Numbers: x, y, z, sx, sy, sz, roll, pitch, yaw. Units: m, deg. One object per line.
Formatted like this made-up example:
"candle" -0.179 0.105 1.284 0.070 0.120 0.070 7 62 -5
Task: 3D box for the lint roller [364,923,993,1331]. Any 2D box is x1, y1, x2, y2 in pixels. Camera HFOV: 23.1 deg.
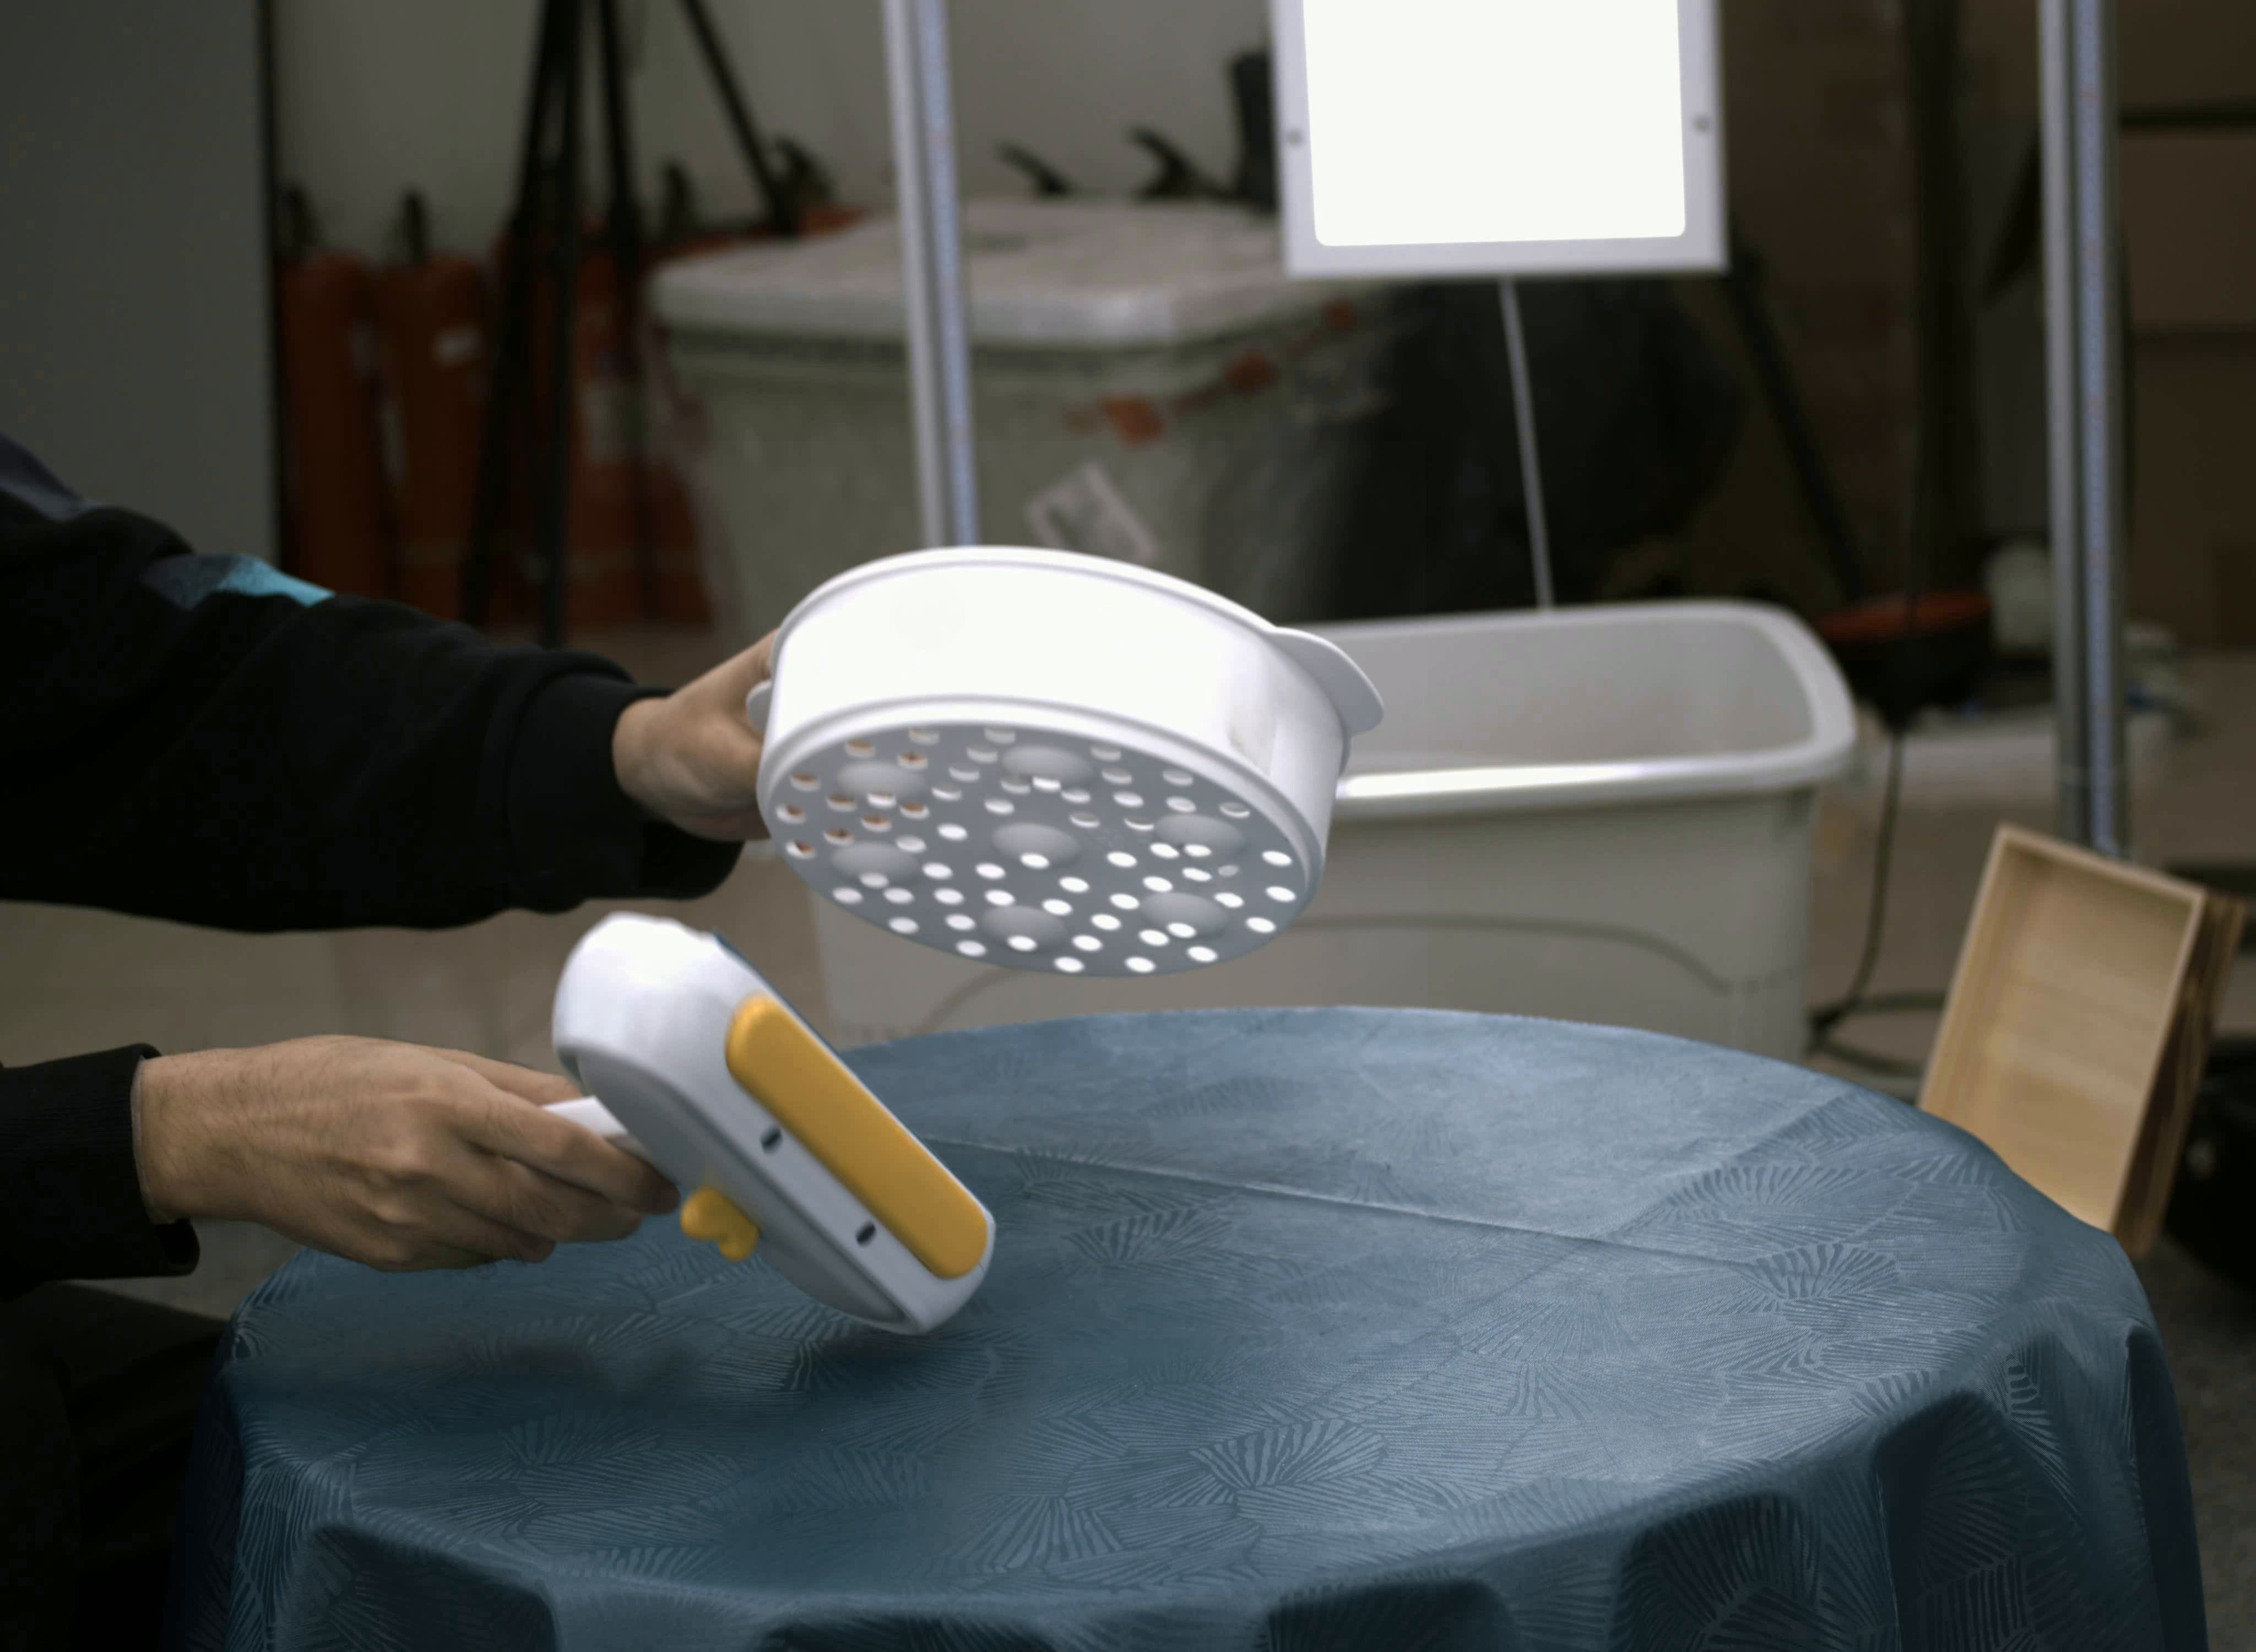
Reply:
"lint roller" -0.160 0.101 1.743 0.196 0.074 0.190 0 -27 40

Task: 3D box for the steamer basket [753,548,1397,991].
"steamer basket" -0.022 -0.013 1.856 0.235 0.069 0.199 -8 -32 27
